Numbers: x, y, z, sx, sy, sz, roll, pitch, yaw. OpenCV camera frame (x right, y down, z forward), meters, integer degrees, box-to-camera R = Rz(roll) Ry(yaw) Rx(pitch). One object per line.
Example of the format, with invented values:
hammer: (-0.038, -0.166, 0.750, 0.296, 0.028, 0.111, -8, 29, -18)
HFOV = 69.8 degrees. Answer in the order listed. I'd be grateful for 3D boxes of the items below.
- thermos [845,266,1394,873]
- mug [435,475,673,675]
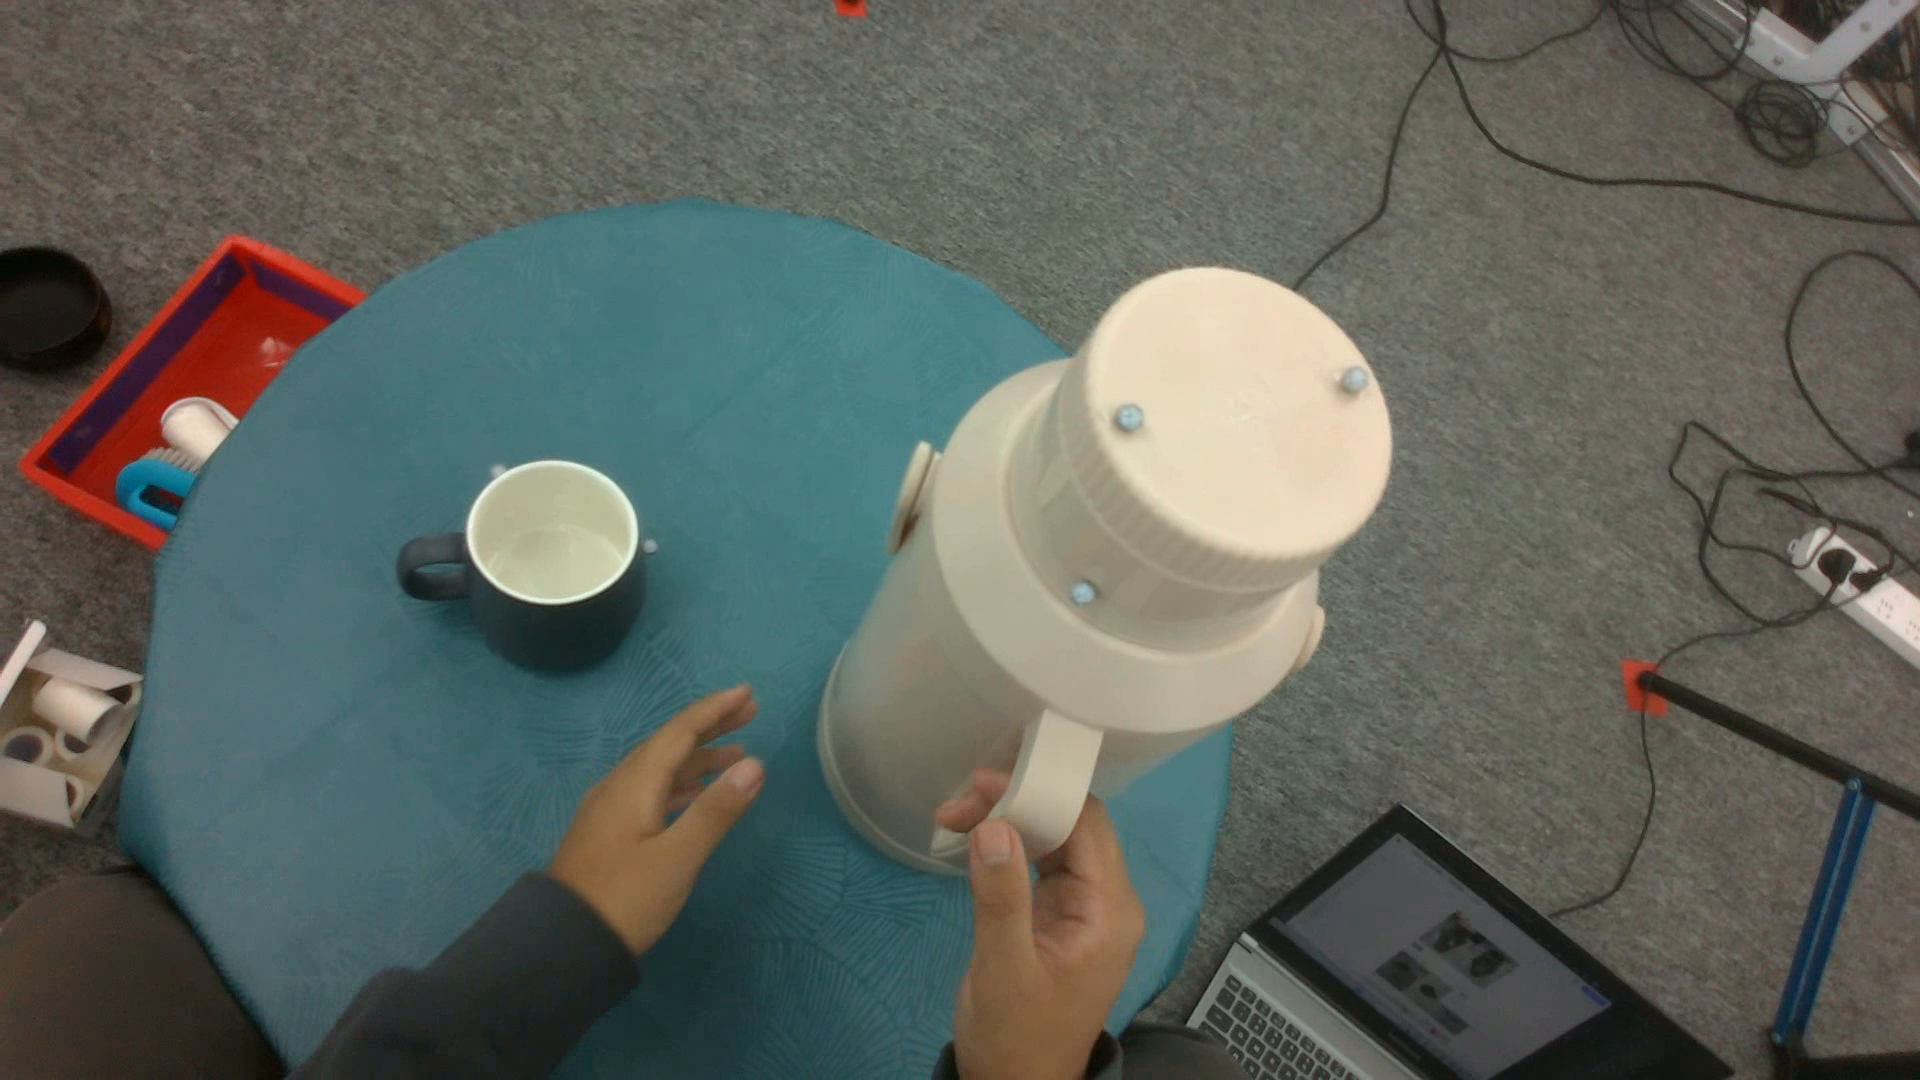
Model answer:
thermos: (0.047, 0.046, 0.618, 0.175, 0.404, 0.208, 20, 63, -5)
mug: (-0.216, 0.019, 0.738, 0.123, 0.089, 0.094, -3, 67, -15)
